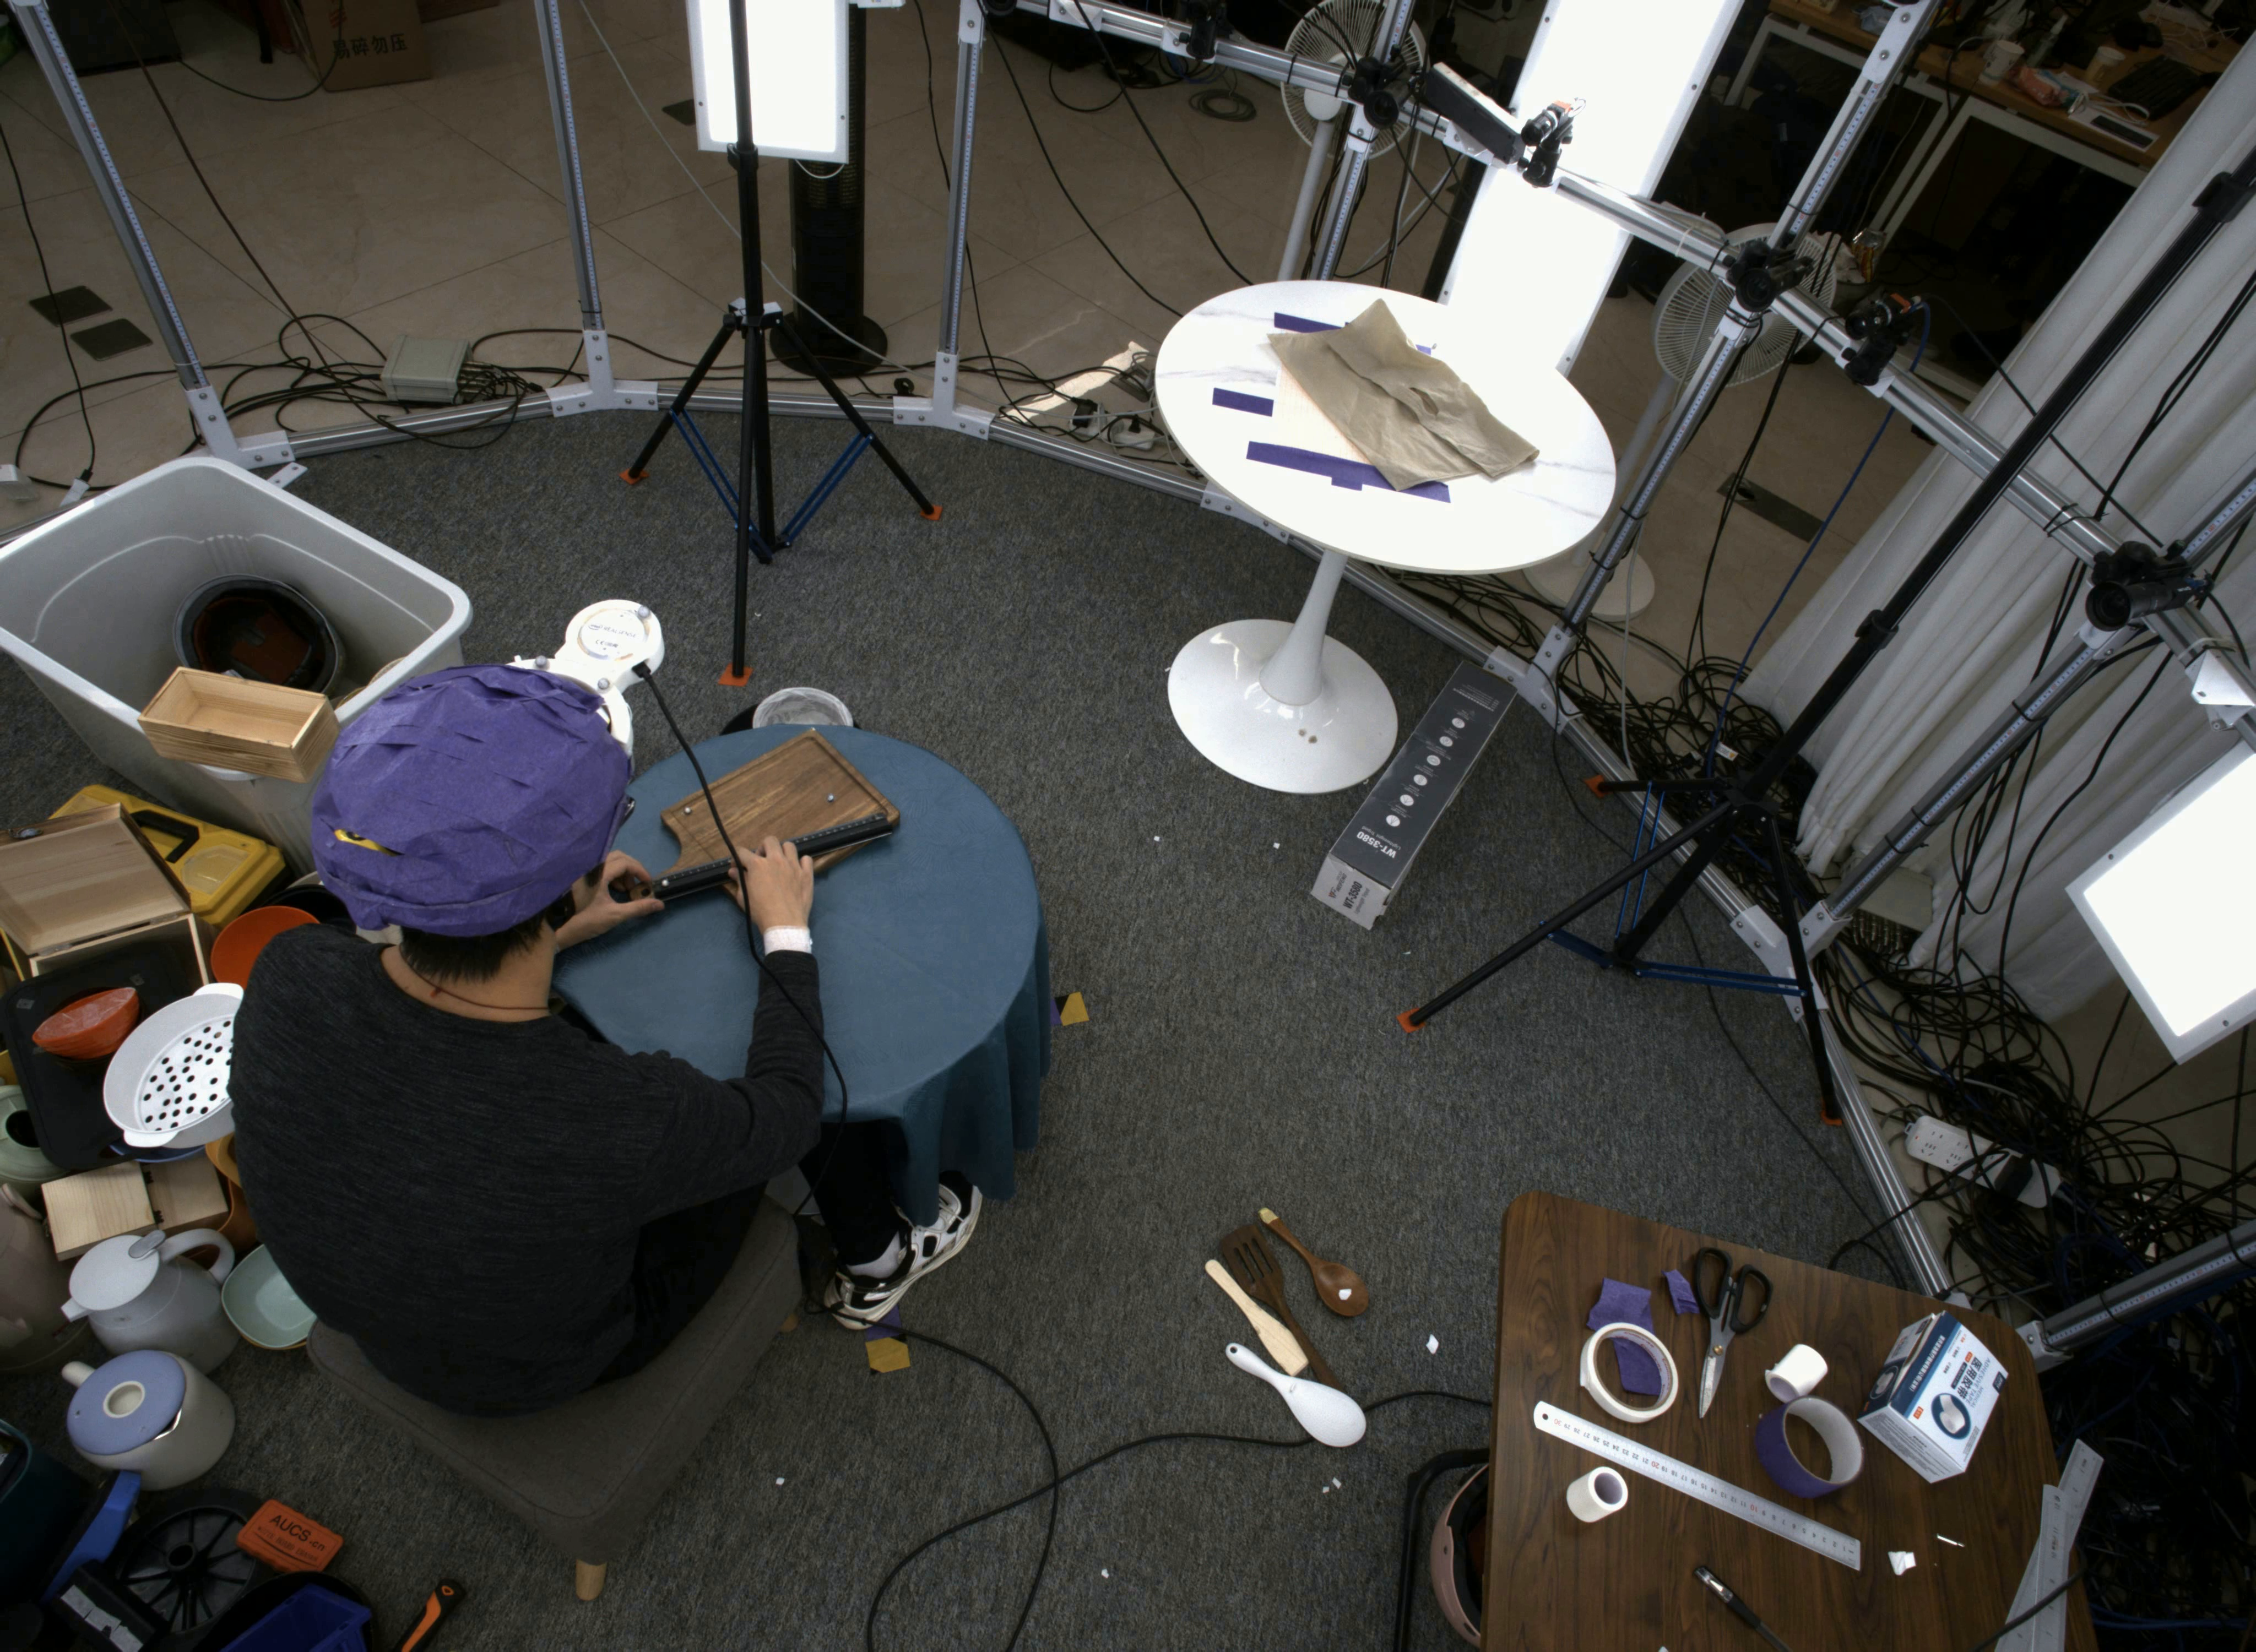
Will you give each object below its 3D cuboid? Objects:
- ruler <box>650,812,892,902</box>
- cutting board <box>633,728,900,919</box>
[{"bbox_3d":[-0.452,0.031,1.652,0.314,0.017,0.038,-18,57,-25],"label":"ruler"},{"bbox_3d":[-0.490,0.012,1.679,0.196,0.023,0.353,42,55,17],"label":"cutting board"}]
